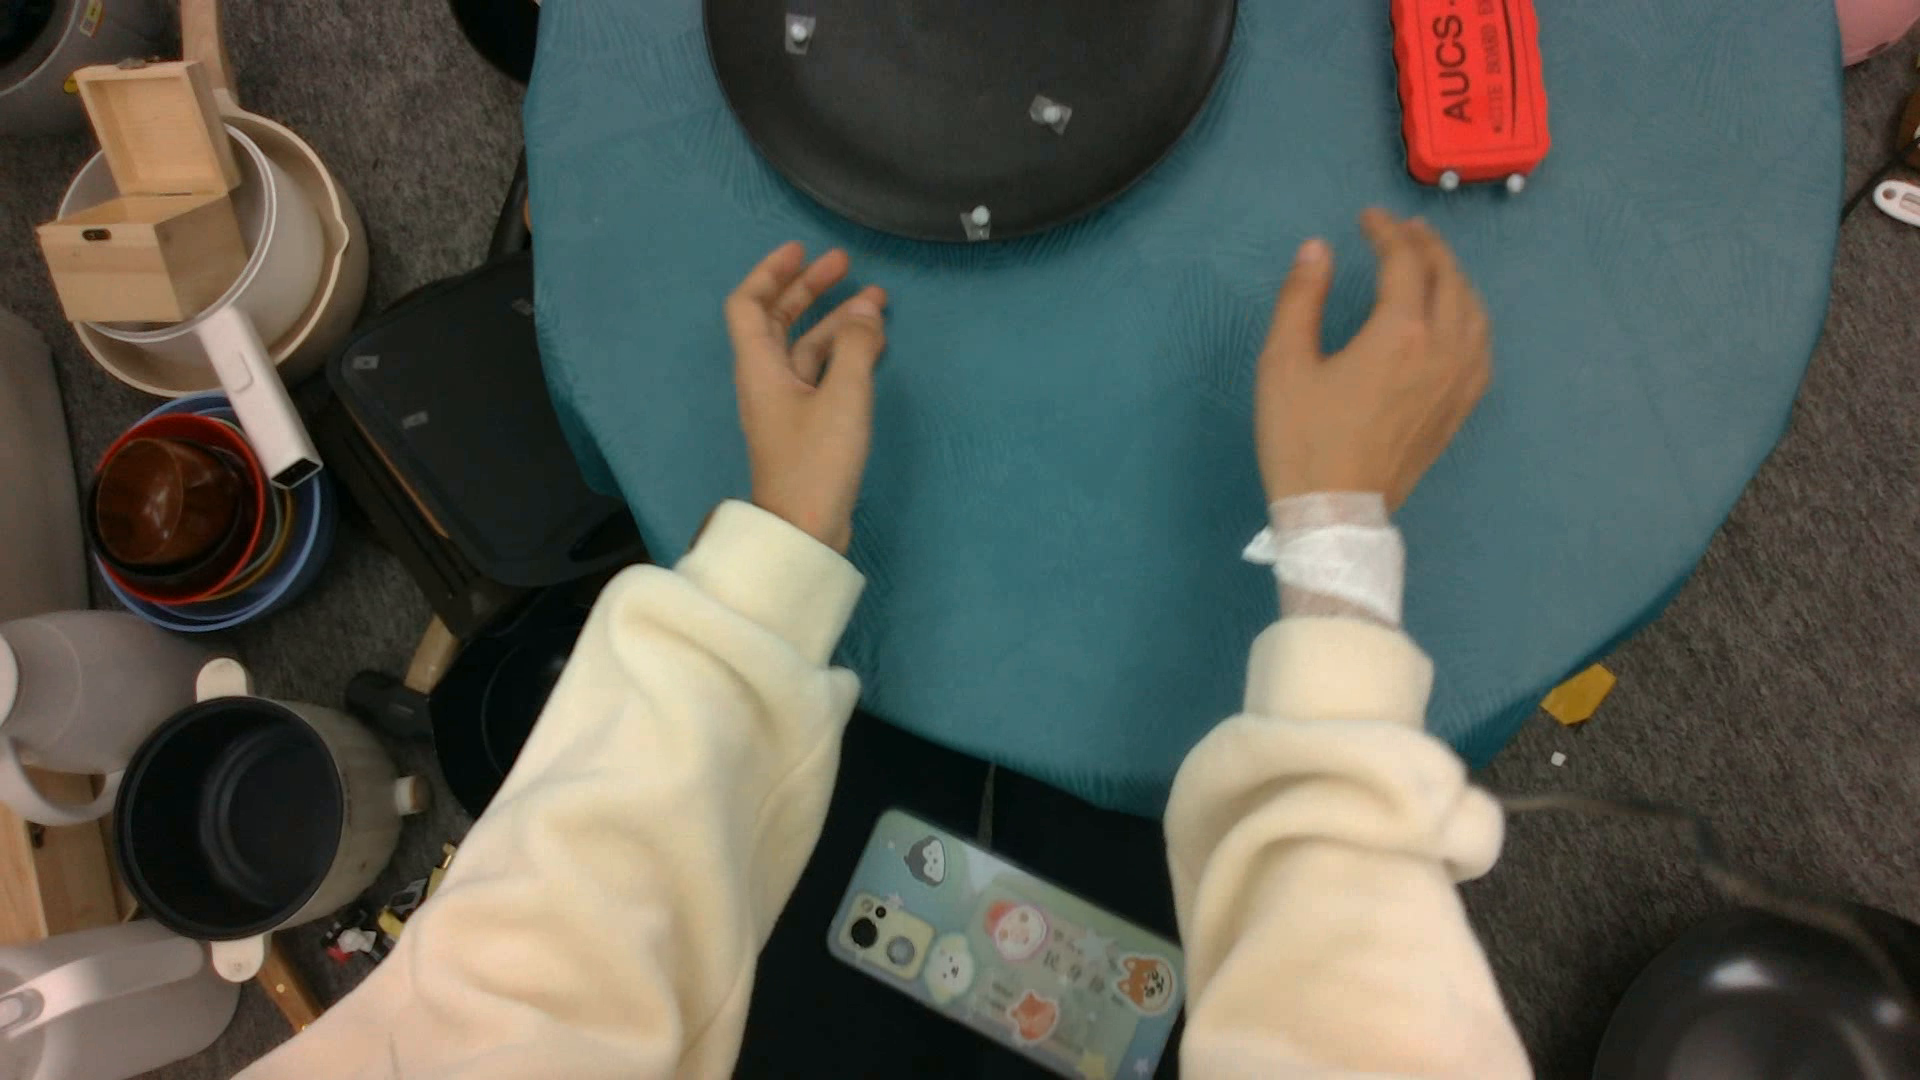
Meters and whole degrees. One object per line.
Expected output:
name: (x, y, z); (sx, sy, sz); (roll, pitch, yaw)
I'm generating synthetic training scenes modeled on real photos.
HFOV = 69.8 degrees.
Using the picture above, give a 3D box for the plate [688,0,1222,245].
plate: (-0.003, -0.250, 0.636); (0.244, 0.023, 0.244); (0, 82, 3)

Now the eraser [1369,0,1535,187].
eraser: (0.219, -0.214, 0.616); (0.059, 0.023, 0.108); (-4, 79, 1)
